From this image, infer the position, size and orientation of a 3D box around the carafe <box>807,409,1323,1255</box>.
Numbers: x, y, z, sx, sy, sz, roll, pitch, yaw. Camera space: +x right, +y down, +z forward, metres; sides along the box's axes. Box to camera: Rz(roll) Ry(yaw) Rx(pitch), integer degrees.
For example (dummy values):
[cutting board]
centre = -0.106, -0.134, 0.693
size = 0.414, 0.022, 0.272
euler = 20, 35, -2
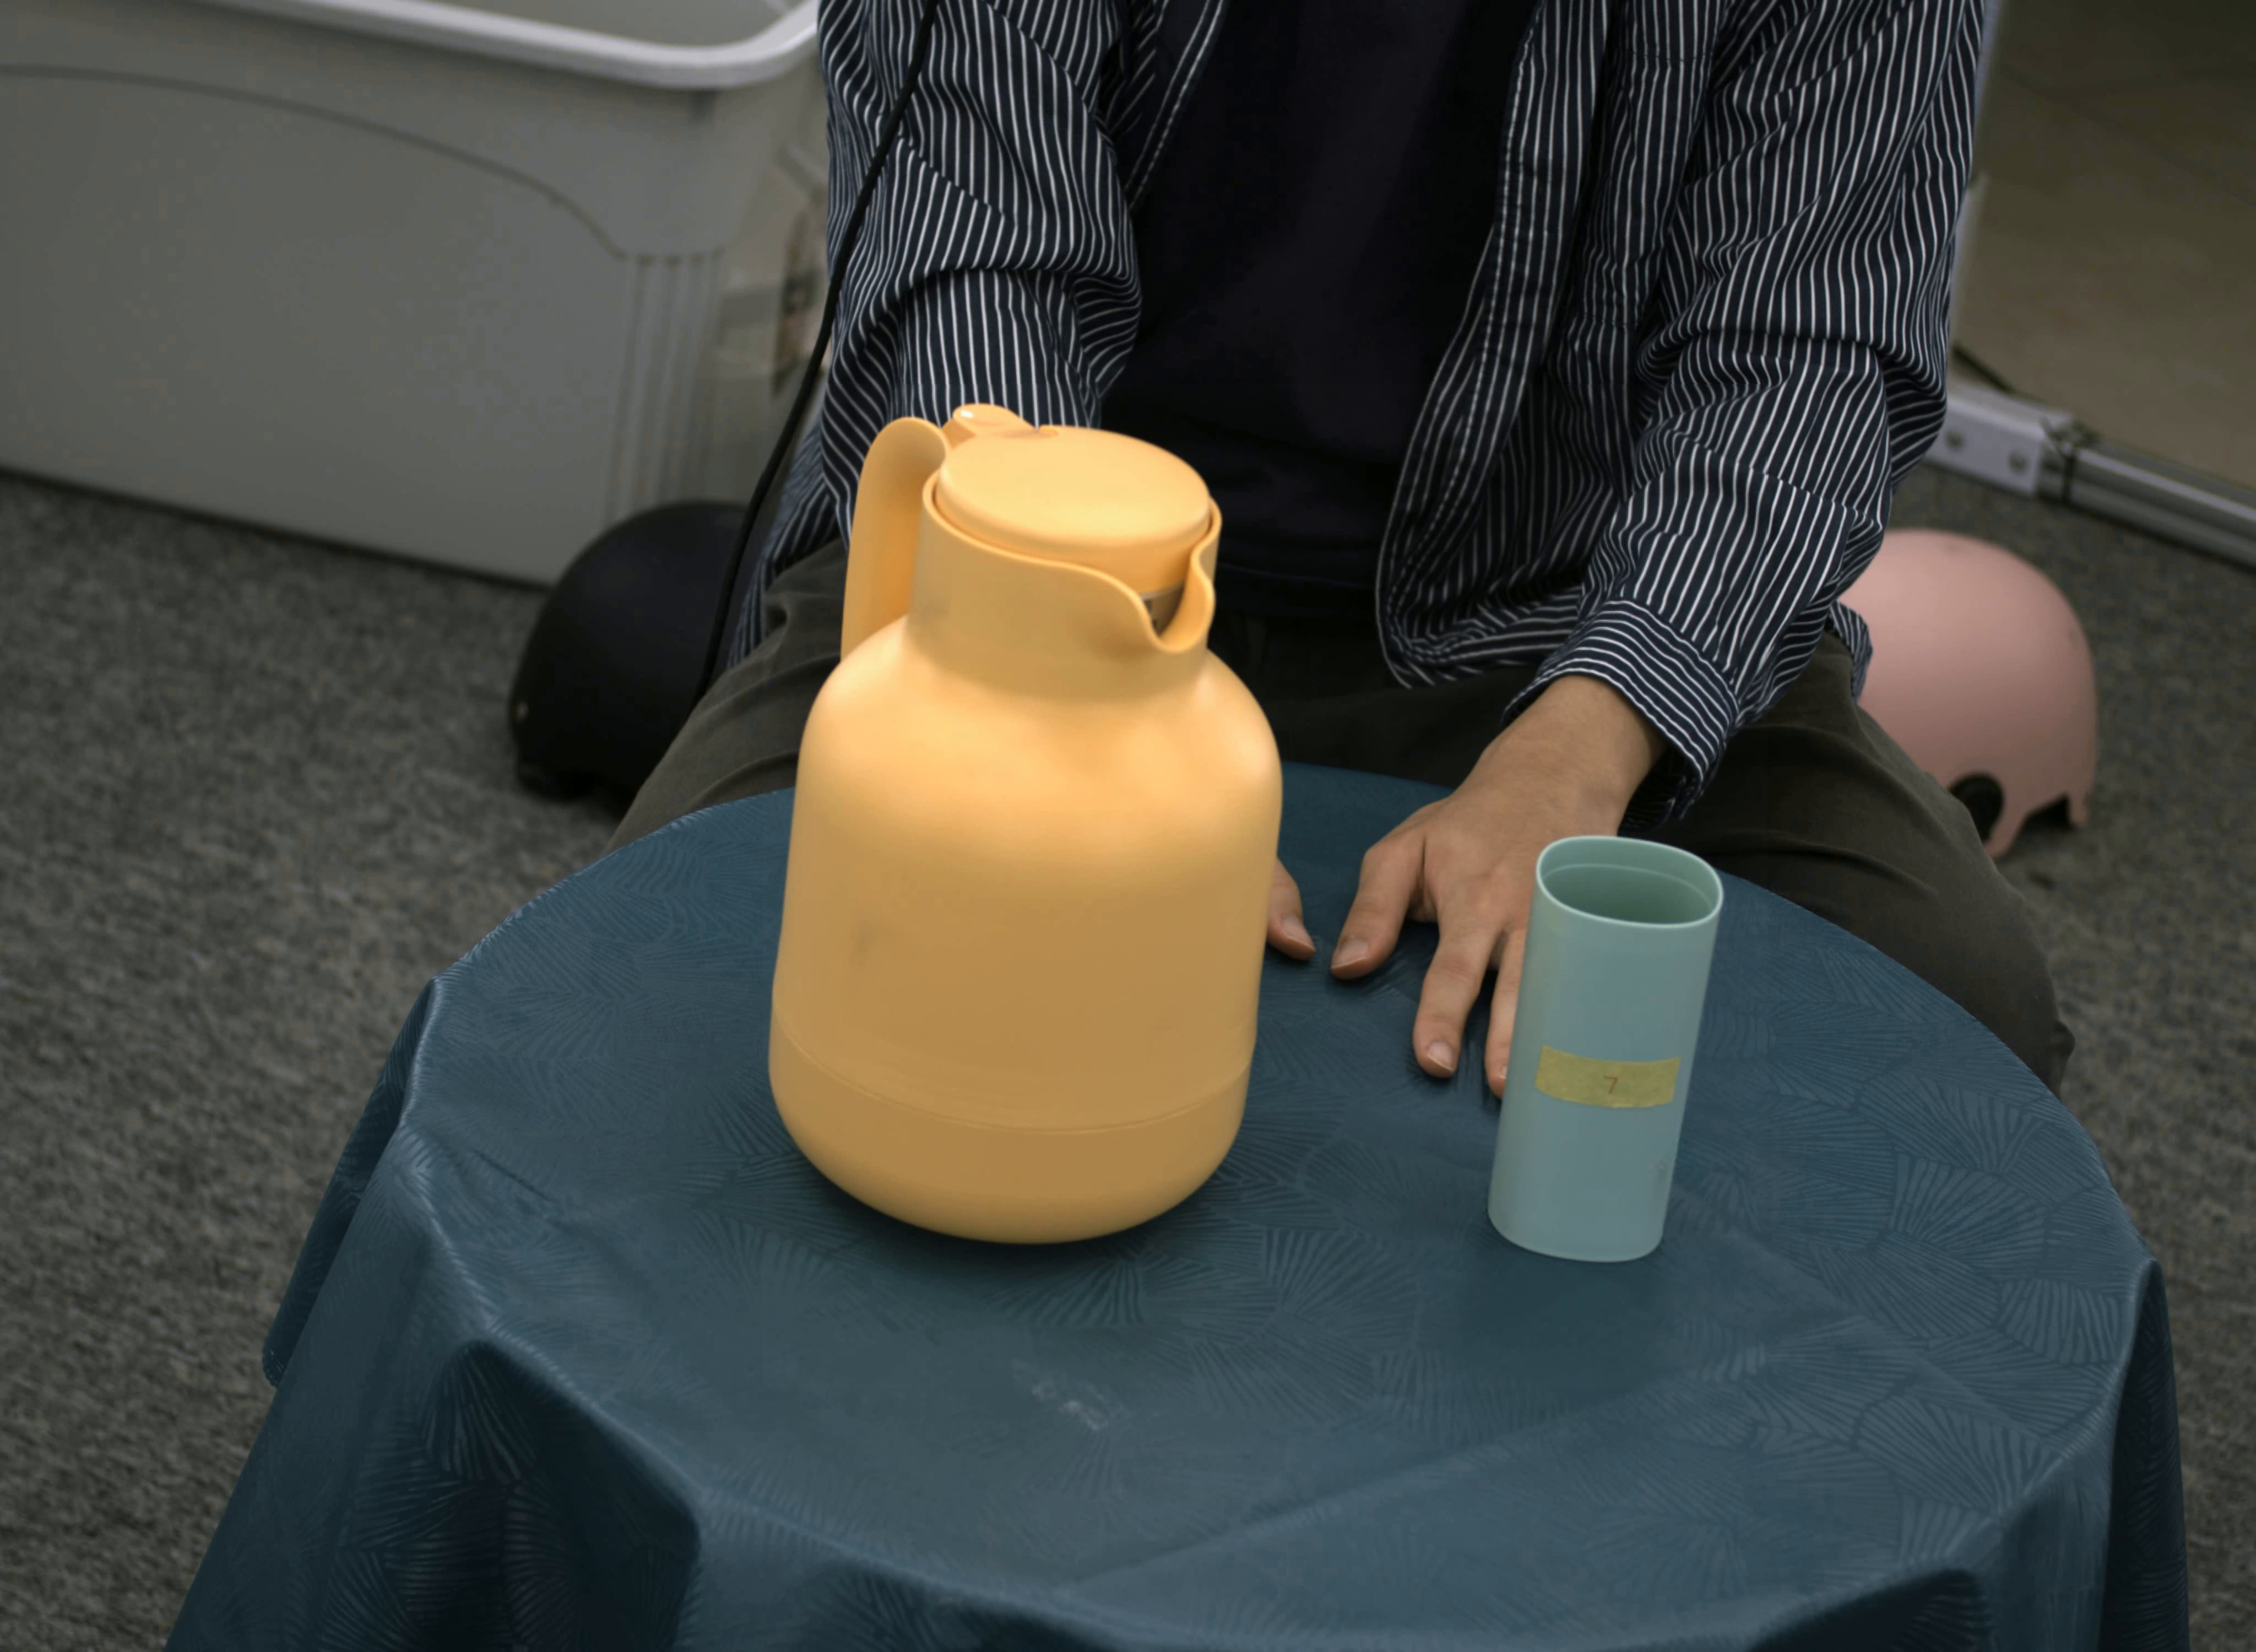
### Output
[carafe]
centre = -0.026, -0.008, 1.766
size = 0.162, 0.259, 0.204
euler = -9, 30, -31

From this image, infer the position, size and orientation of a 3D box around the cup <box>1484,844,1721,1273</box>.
[cup]
centre = 0.158, 0.077, 1.785
size = 0.066, 0.132, 0.067
euler = 5, 28, -3
